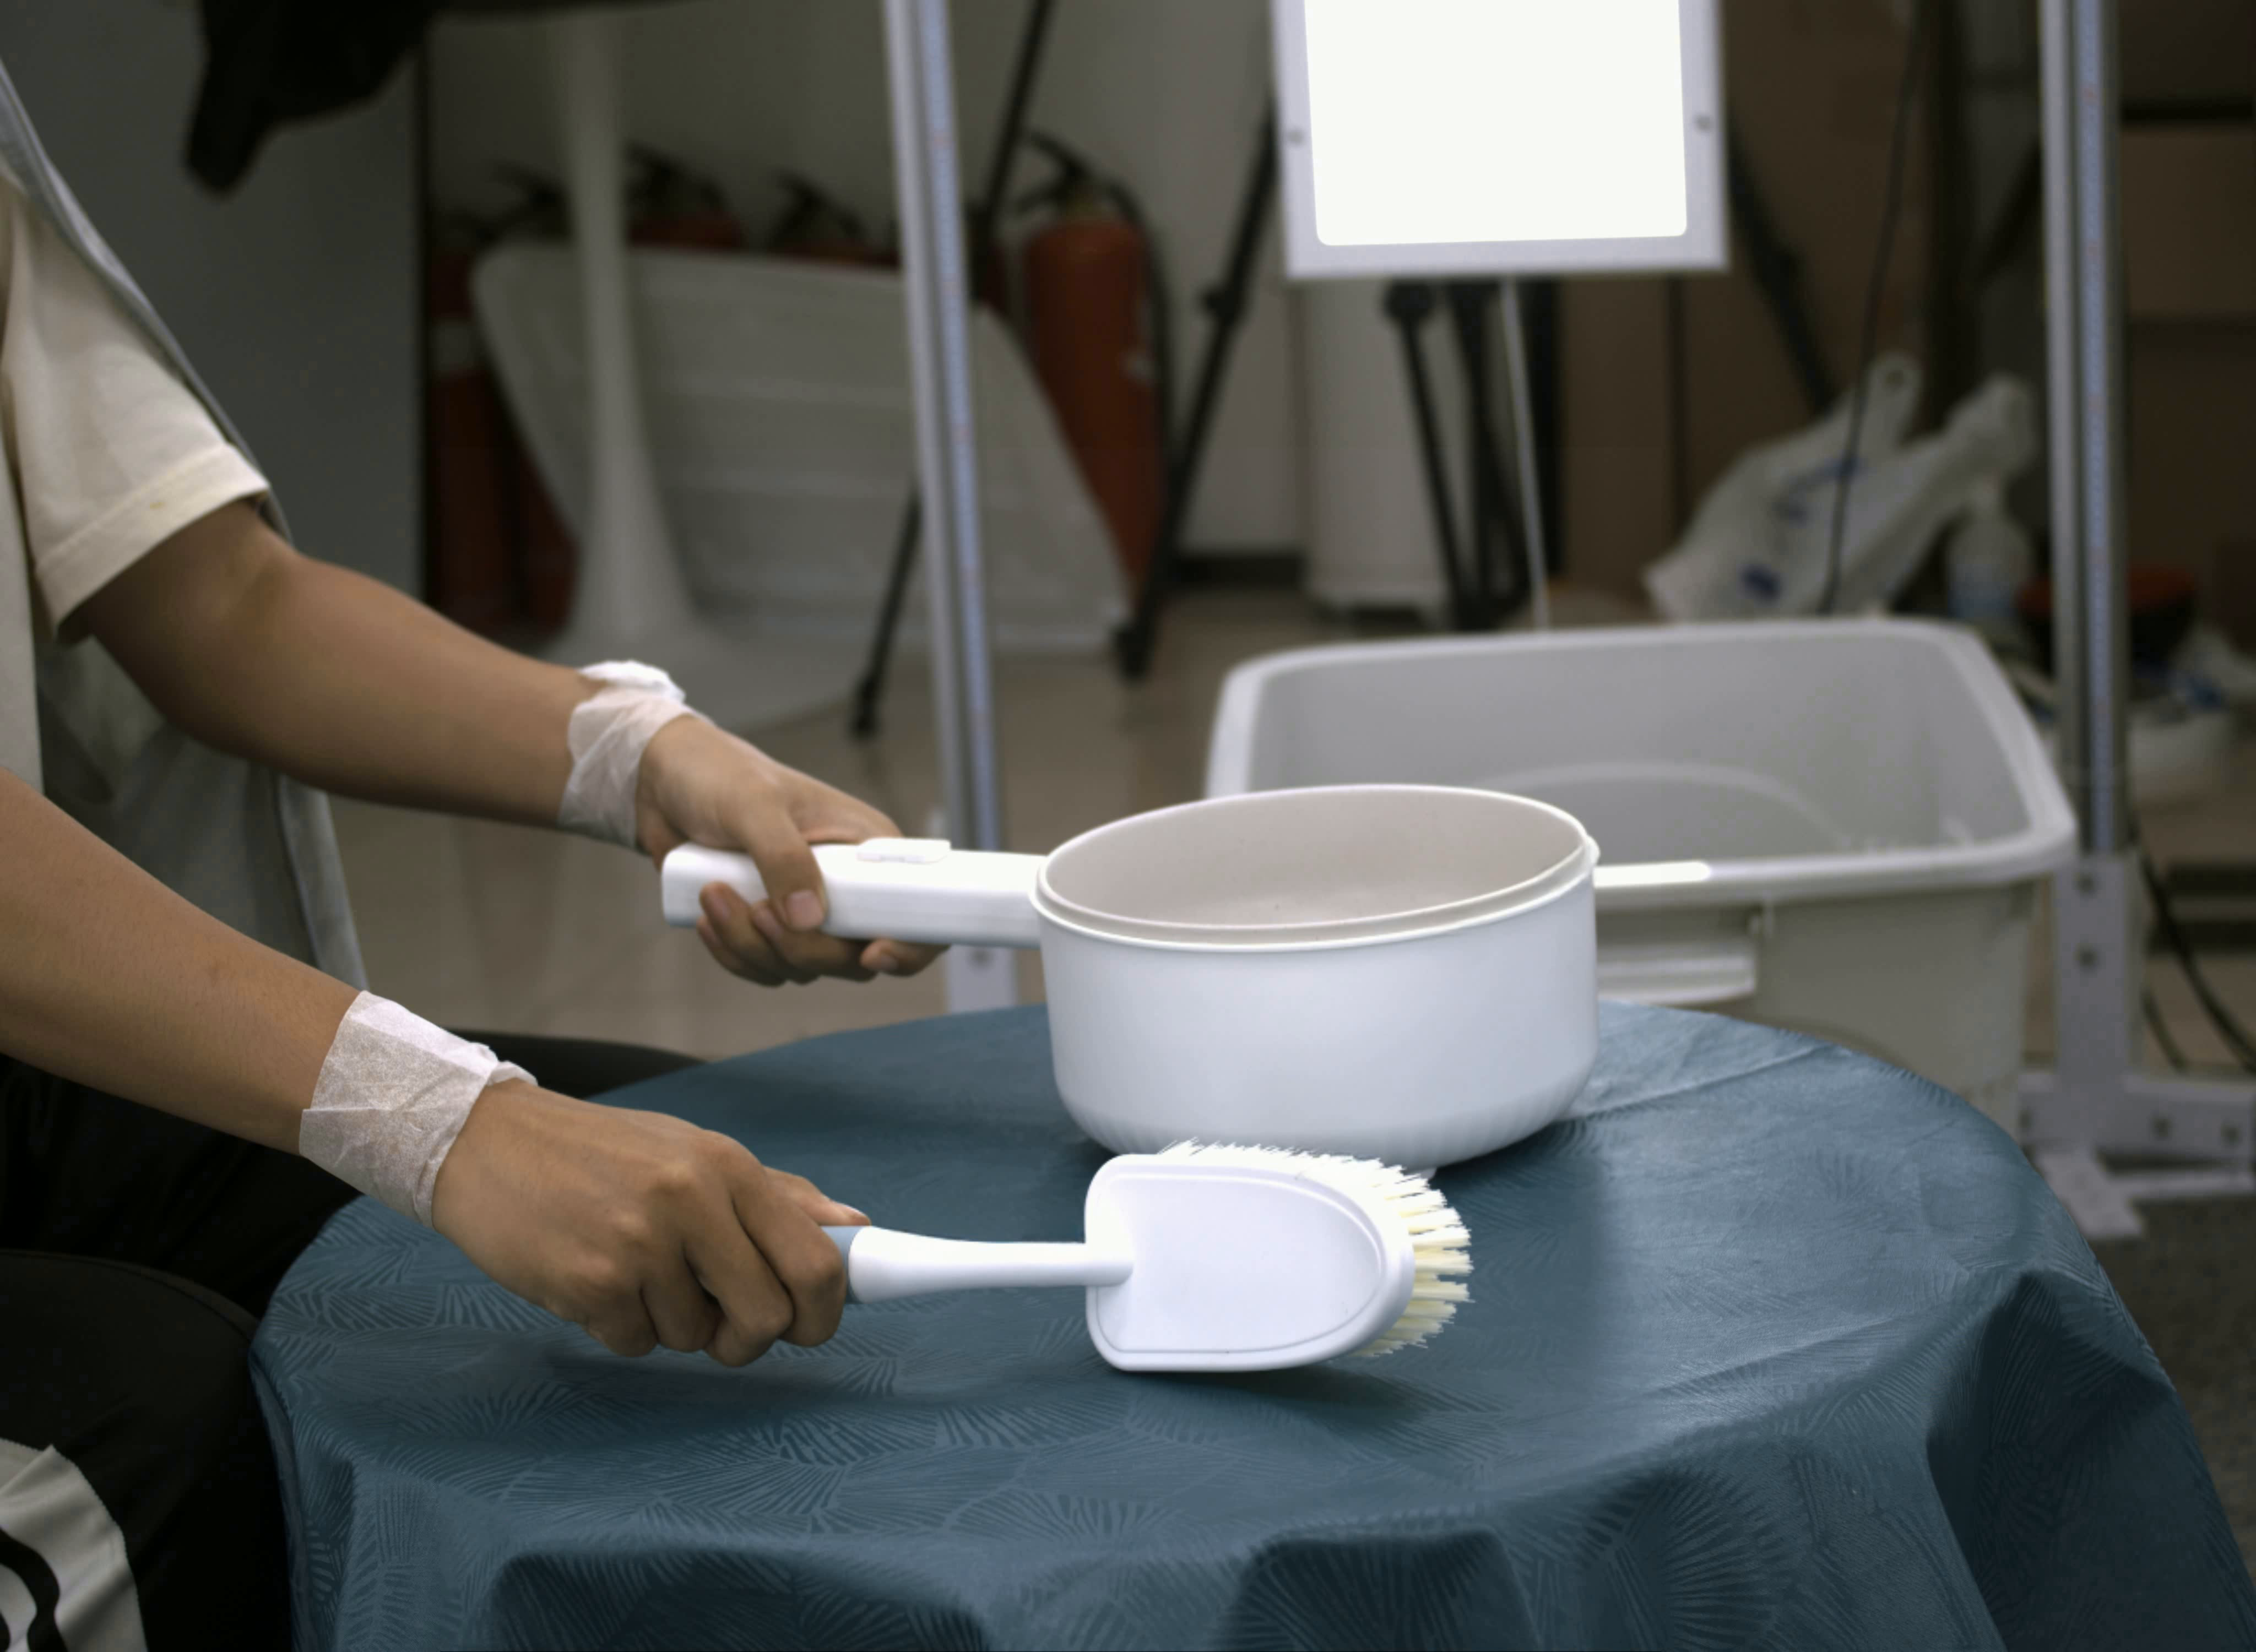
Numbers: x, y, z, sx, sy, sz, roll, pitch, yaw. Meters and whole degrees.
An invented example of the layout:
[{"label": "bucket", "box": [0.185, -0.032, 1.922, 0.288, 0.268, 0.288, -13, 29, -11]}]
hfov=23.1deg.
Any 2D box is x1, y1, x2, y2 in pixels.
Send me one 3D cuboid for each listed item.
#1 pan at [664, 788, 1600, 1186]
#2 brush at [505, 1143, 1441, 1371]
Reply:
[{"label": "pan", "box": [-0.001, 0.058, 1.973, 0.361, 0.102, 0.197, 1, 15, 26]}, {"label": "brush", "box": [-0.047, 0.133, 1.744, 0.331, 0.084, 0.082, -3, 50, 29]}]
